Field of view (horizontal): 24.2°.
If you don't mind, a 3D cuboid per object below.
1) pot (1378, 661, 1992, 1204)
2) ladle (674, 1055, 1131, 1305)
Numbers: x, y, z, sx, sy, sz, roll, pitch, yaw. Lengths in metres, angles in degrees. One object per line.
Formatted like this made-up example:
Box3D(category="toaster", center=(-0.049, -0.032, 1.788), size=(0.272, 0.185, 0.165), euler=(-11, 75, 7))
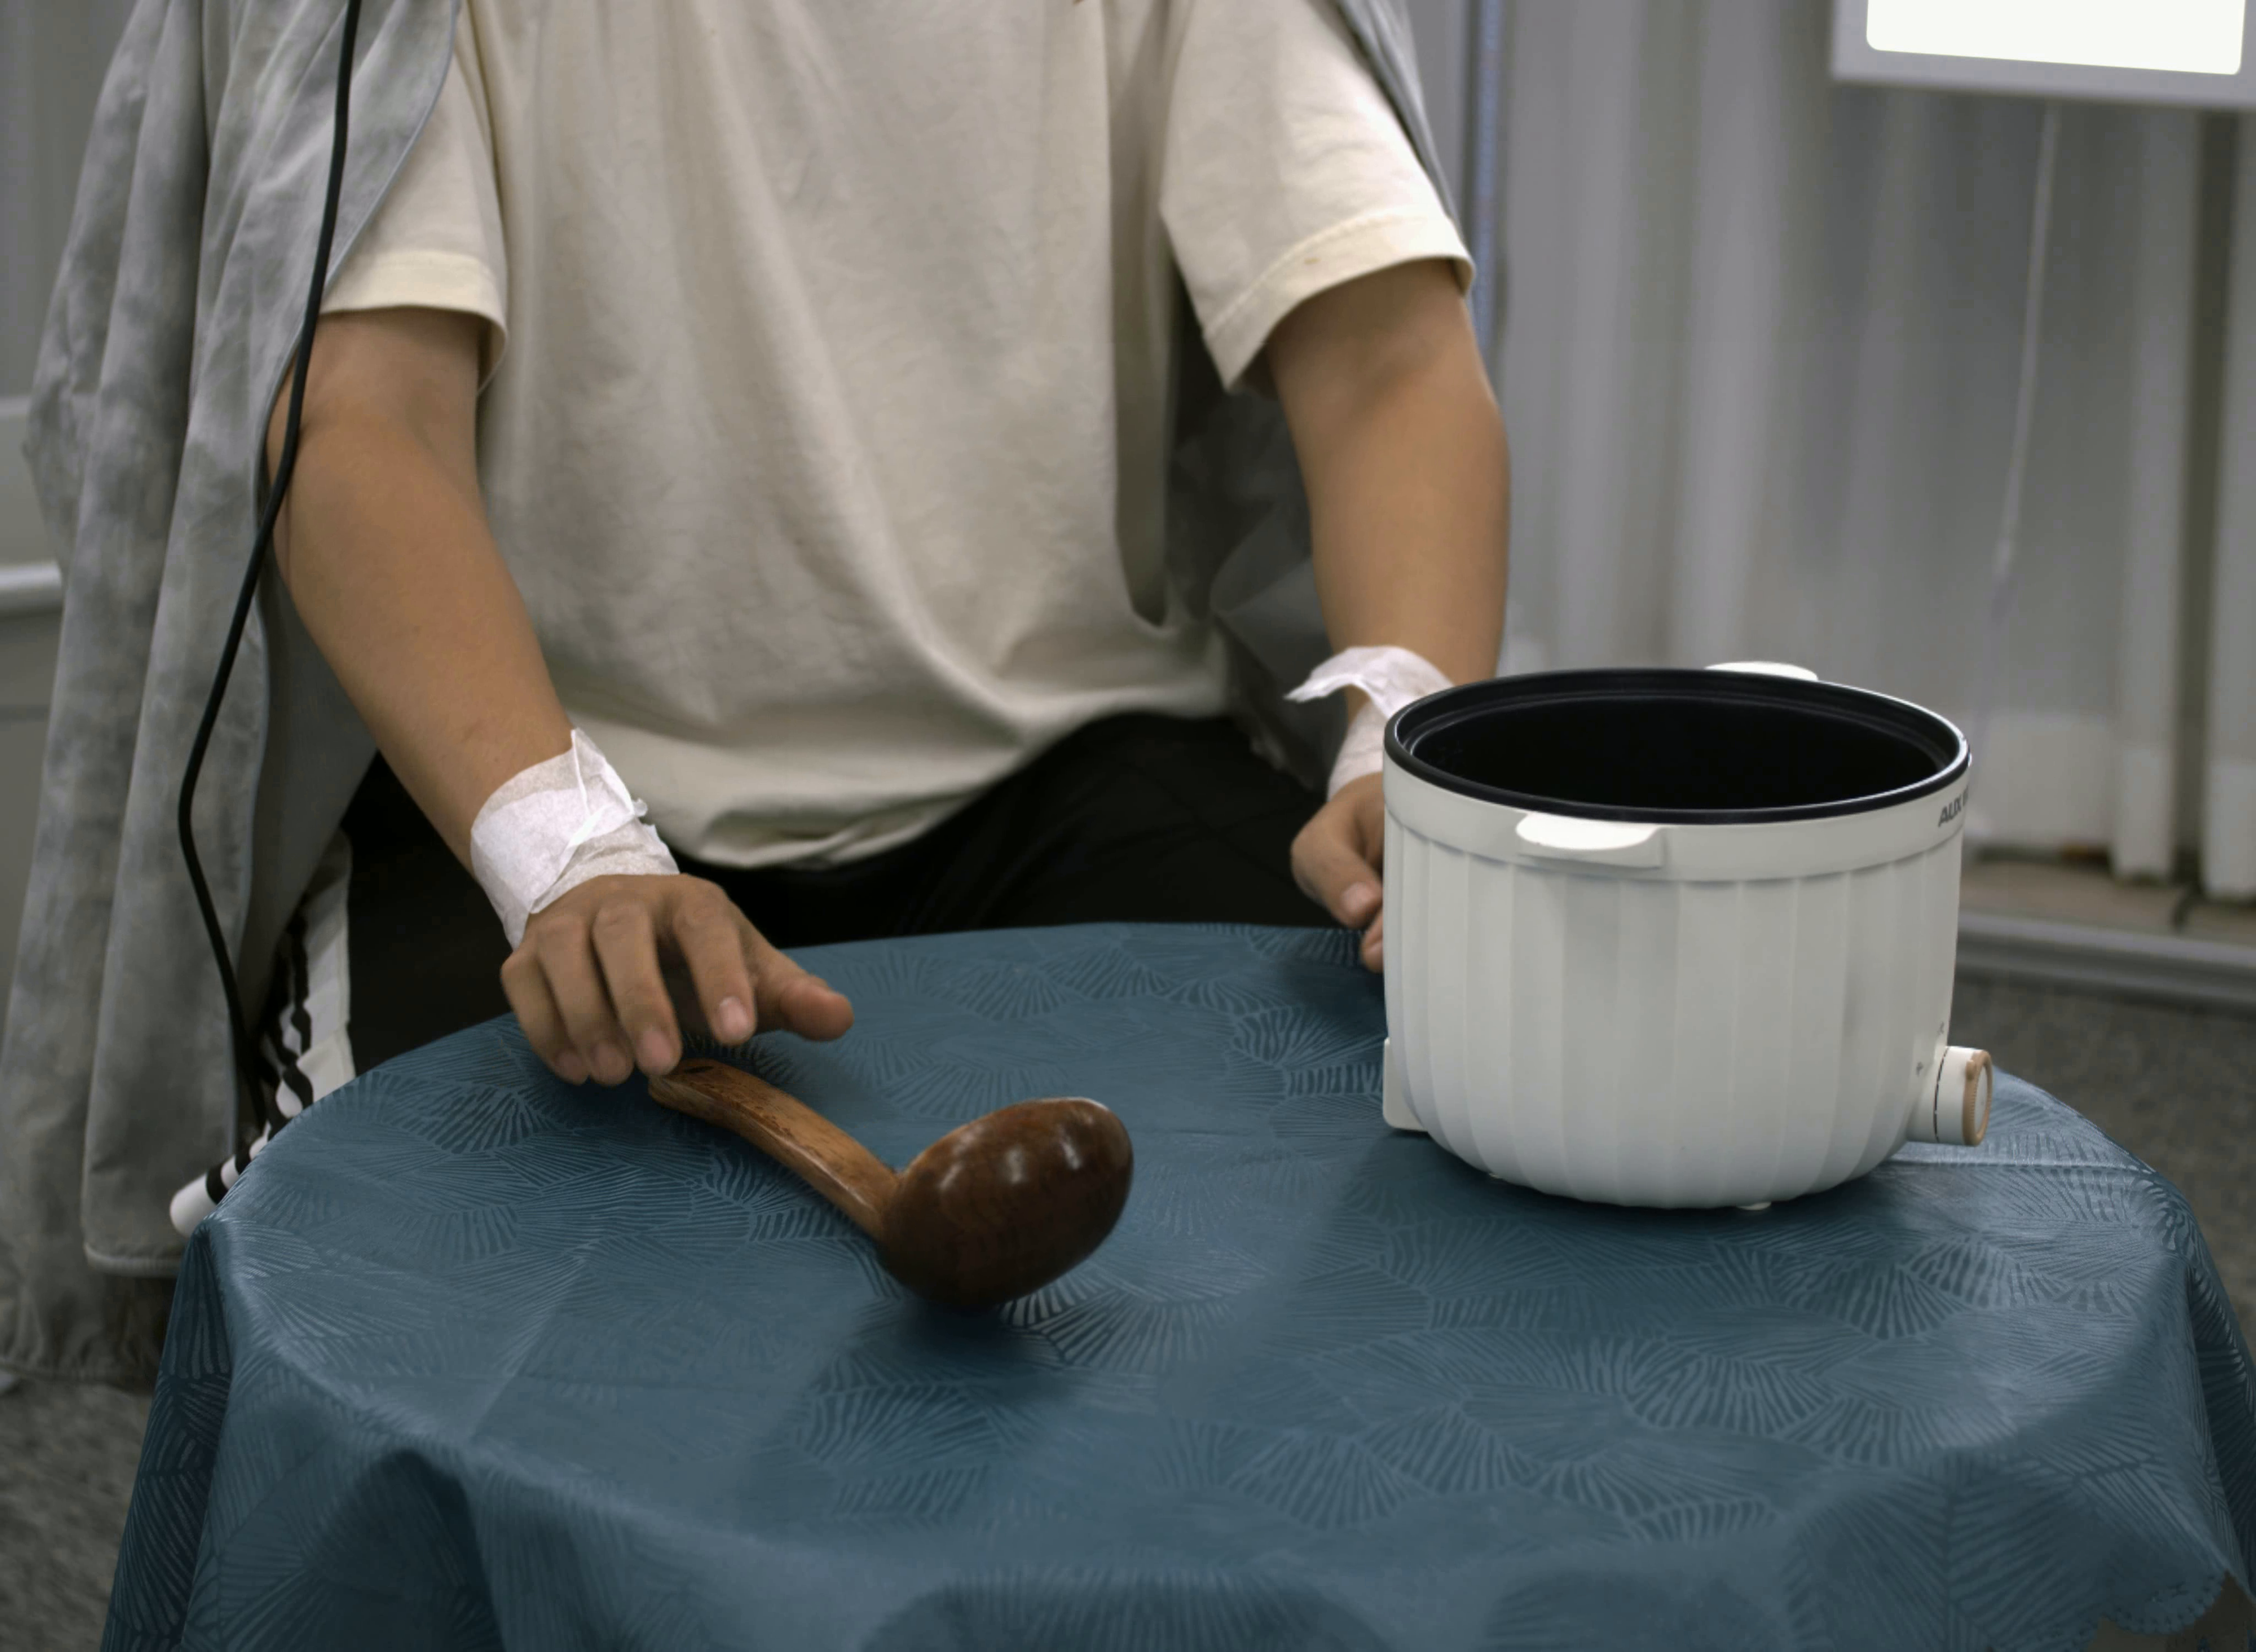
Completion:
Box3D(category="pot", center=(0.174, 0.035, 1.647), size=(0.189, 0.144, 0.240), euler=(3, 16, 20))
Box3D(category="ladle", center=(-0.084, 0.082, 1.587), size=(0.082, 0.077, 0.270), euler=(-8, 18, -25))
